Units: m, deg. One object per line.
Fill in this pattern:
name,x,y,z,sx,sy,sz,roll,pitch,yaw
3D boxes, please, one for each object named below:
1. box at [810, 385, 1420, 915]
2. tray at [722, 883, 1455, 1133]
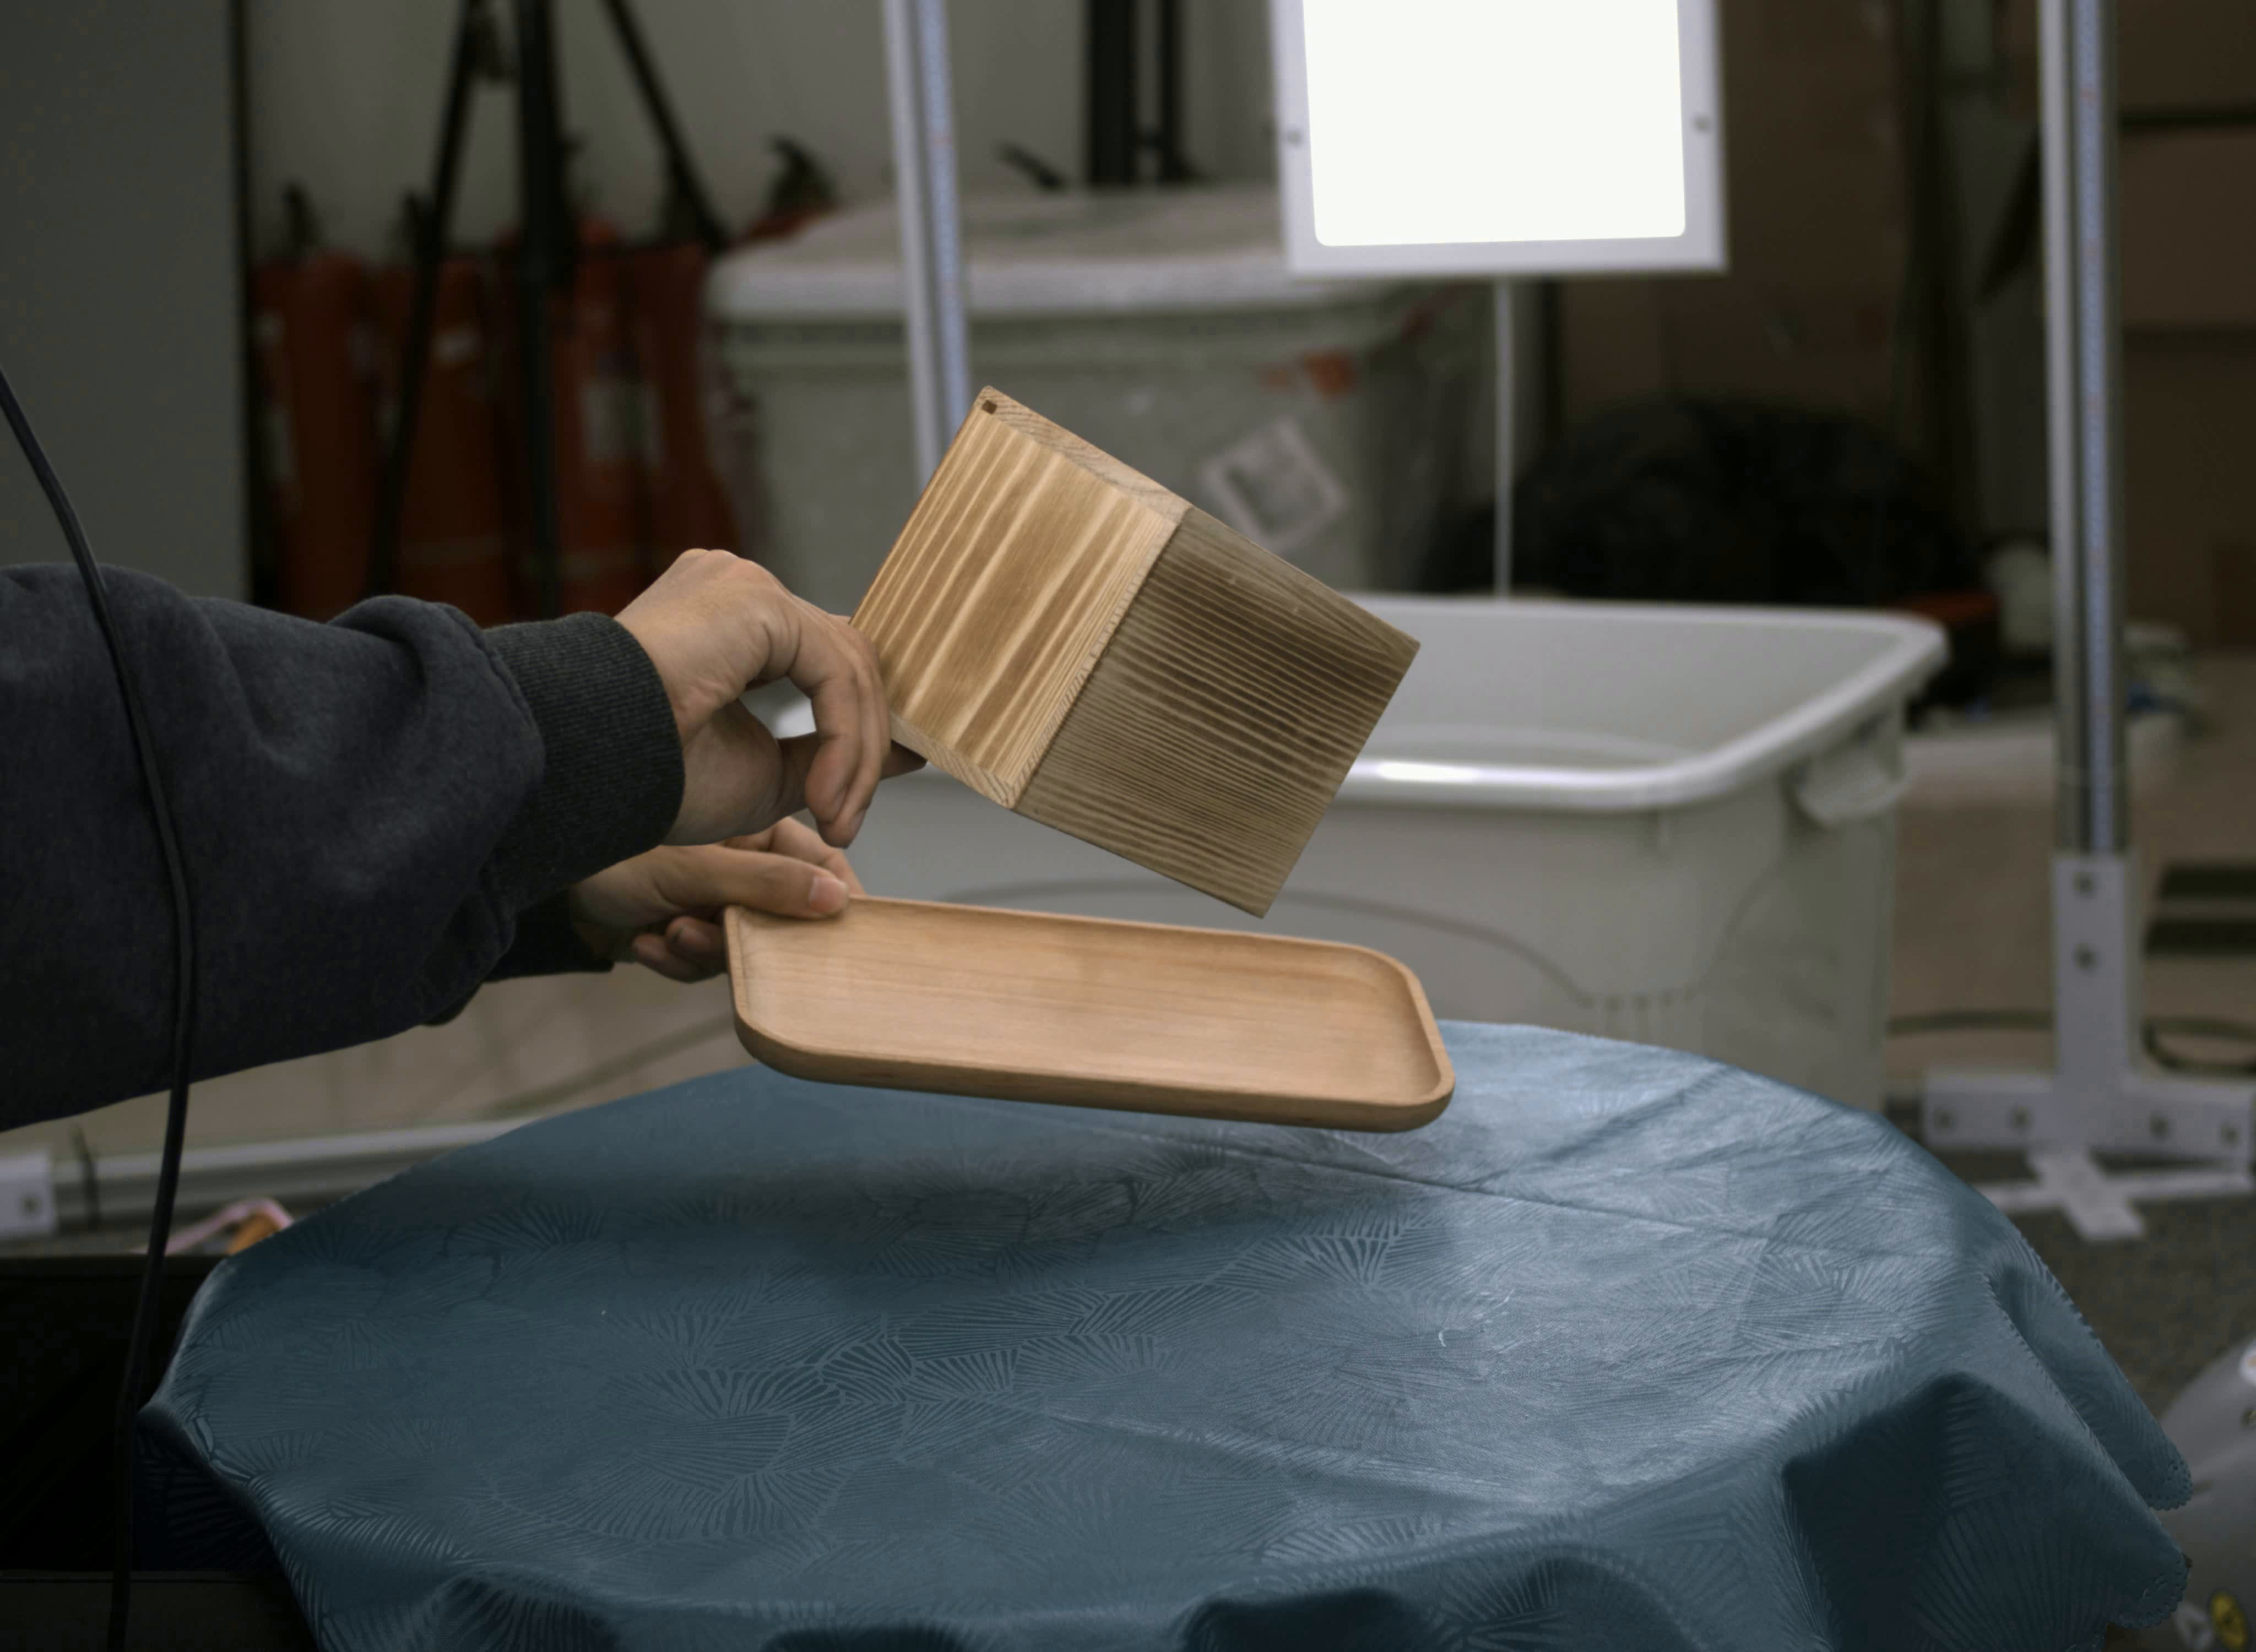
box,0.000,-0.051,1.714,0.081,0.108,0.208,32,4,25
tray,-0.015,0.063,1.899,0.248,0.023,0.130,5,21,-8
